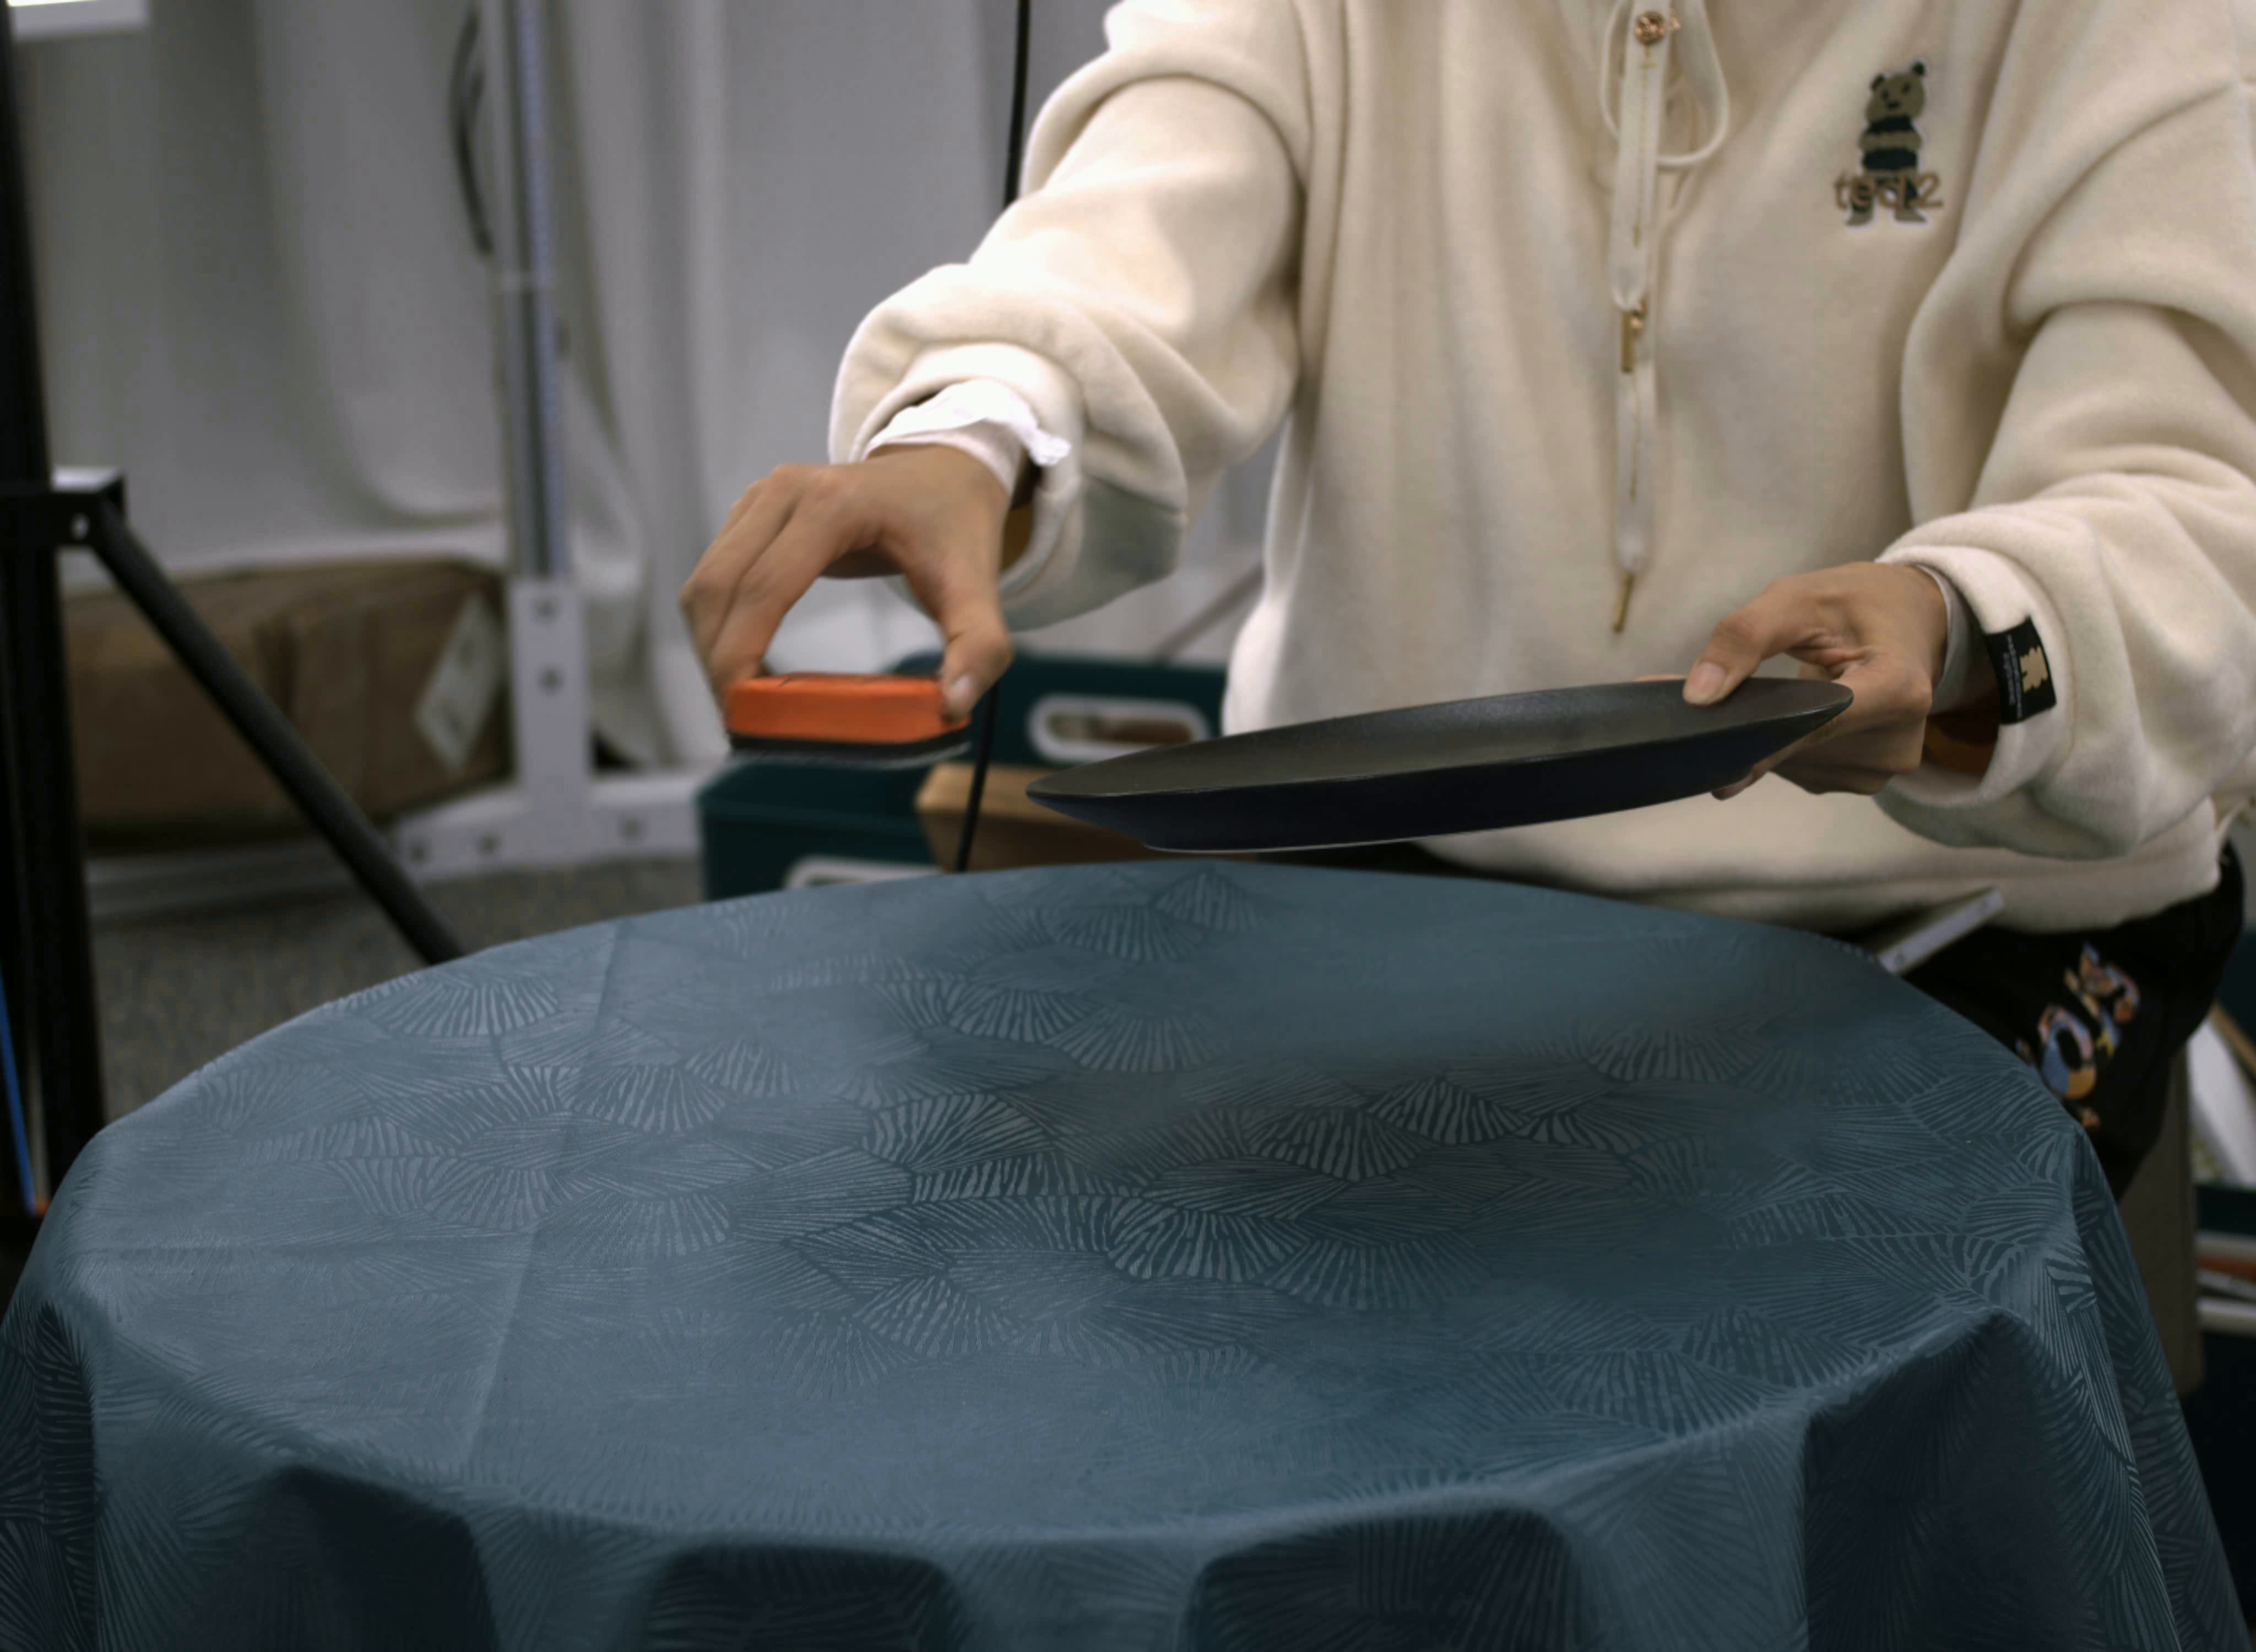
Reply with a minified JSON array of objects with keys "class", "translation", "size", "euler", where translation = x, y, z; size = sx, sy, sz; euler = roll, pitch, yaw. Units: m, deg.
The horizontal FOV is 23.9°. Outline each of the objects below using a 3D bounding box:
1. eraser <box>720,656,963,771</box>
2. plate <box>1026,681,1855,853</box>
[{"class":"eraser","translation":[-0.085,-0.034,1.592],"size":[0.059,0.023,0.107],"euler":[2,8,8]},{"class":"plate","translation":[0.092,-0.016,1.552],"size":[0.243,0.023,0.245],"euler":[-7,5,-1]}]
